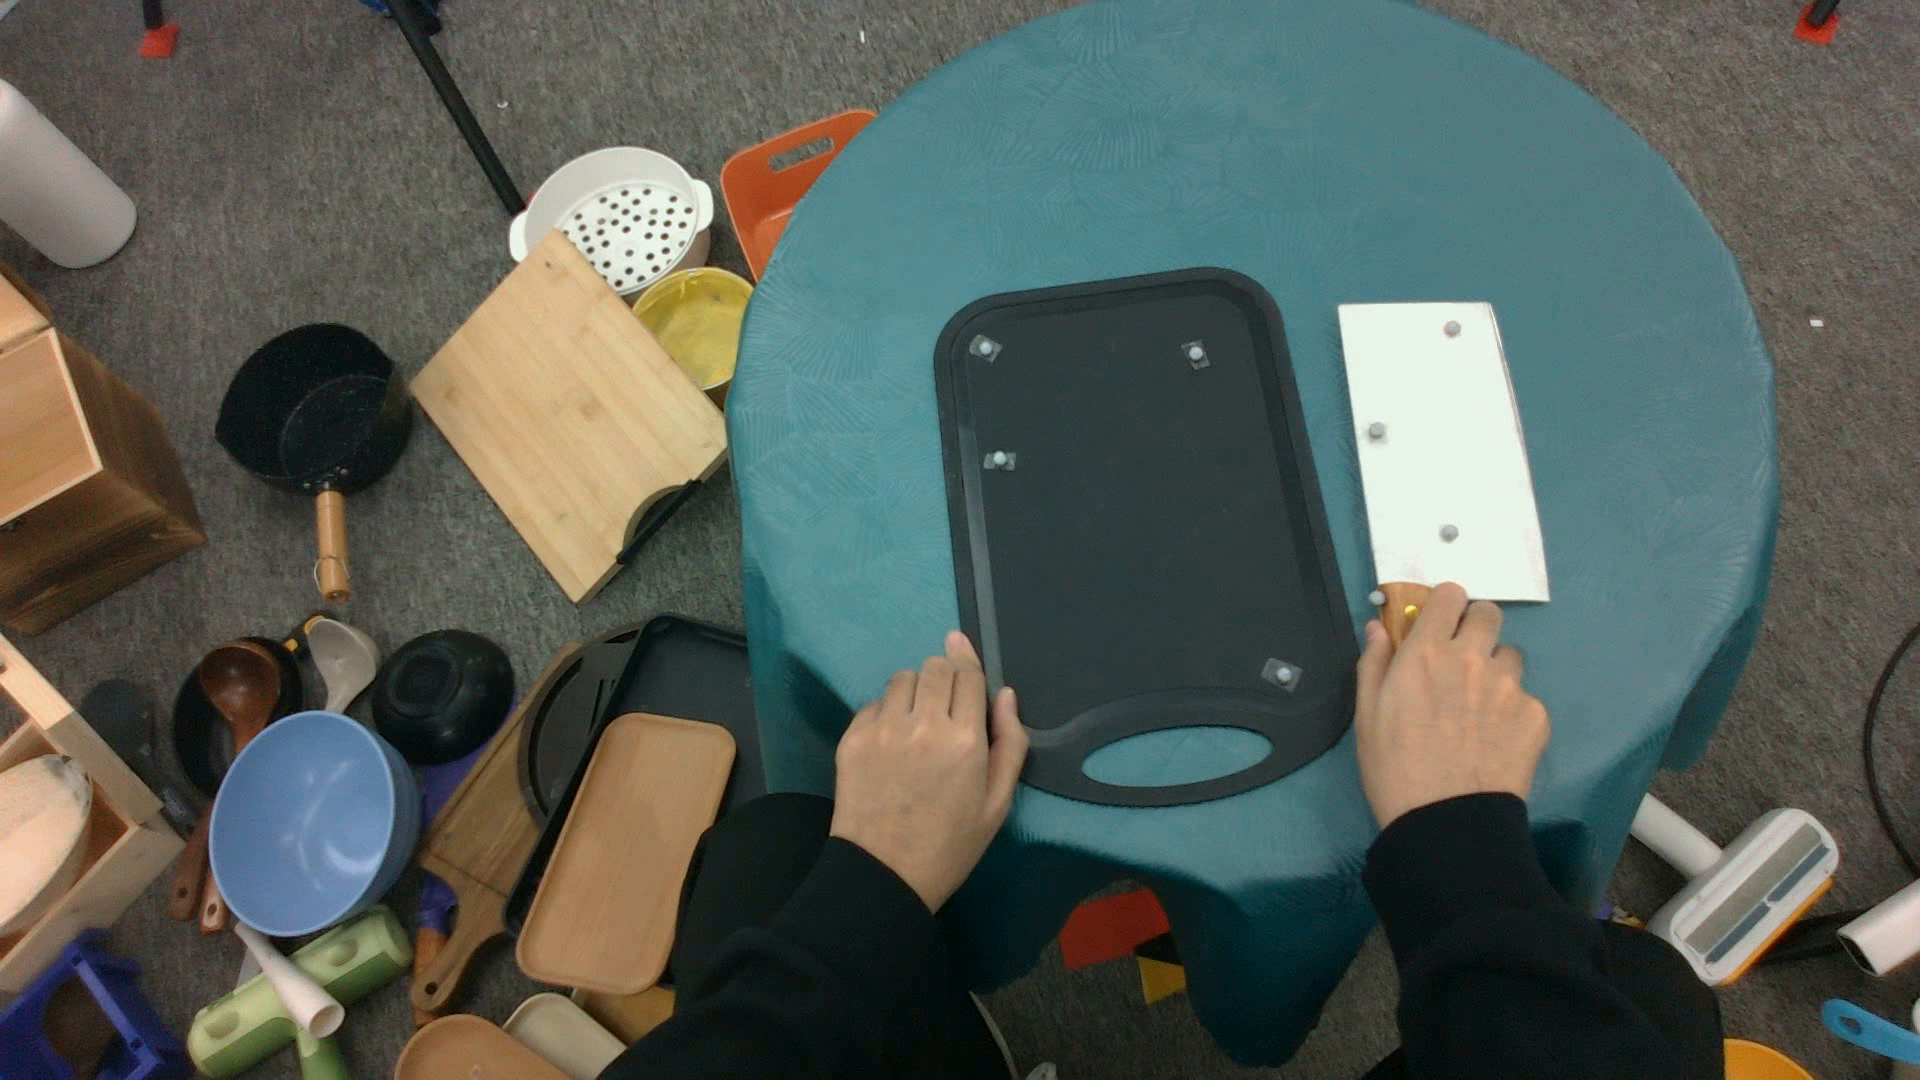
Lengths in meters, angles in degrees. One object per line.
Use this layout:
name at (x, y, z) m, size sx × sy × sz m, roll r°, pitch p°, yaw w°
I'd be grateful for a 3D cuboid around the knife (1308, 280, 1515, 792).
knife at (0.251, -0.014, 0.748) m, size 0.093 × 0.021 × 0.307 m, roll 0°, pitch 65°, yaw -3°

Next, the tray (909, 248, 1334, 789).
tray at (0.085, -0.023, 0.772) m, size 0.211 × 0.010 × 0.326 m, roll -7°, pitch 66°, yaw 2°
